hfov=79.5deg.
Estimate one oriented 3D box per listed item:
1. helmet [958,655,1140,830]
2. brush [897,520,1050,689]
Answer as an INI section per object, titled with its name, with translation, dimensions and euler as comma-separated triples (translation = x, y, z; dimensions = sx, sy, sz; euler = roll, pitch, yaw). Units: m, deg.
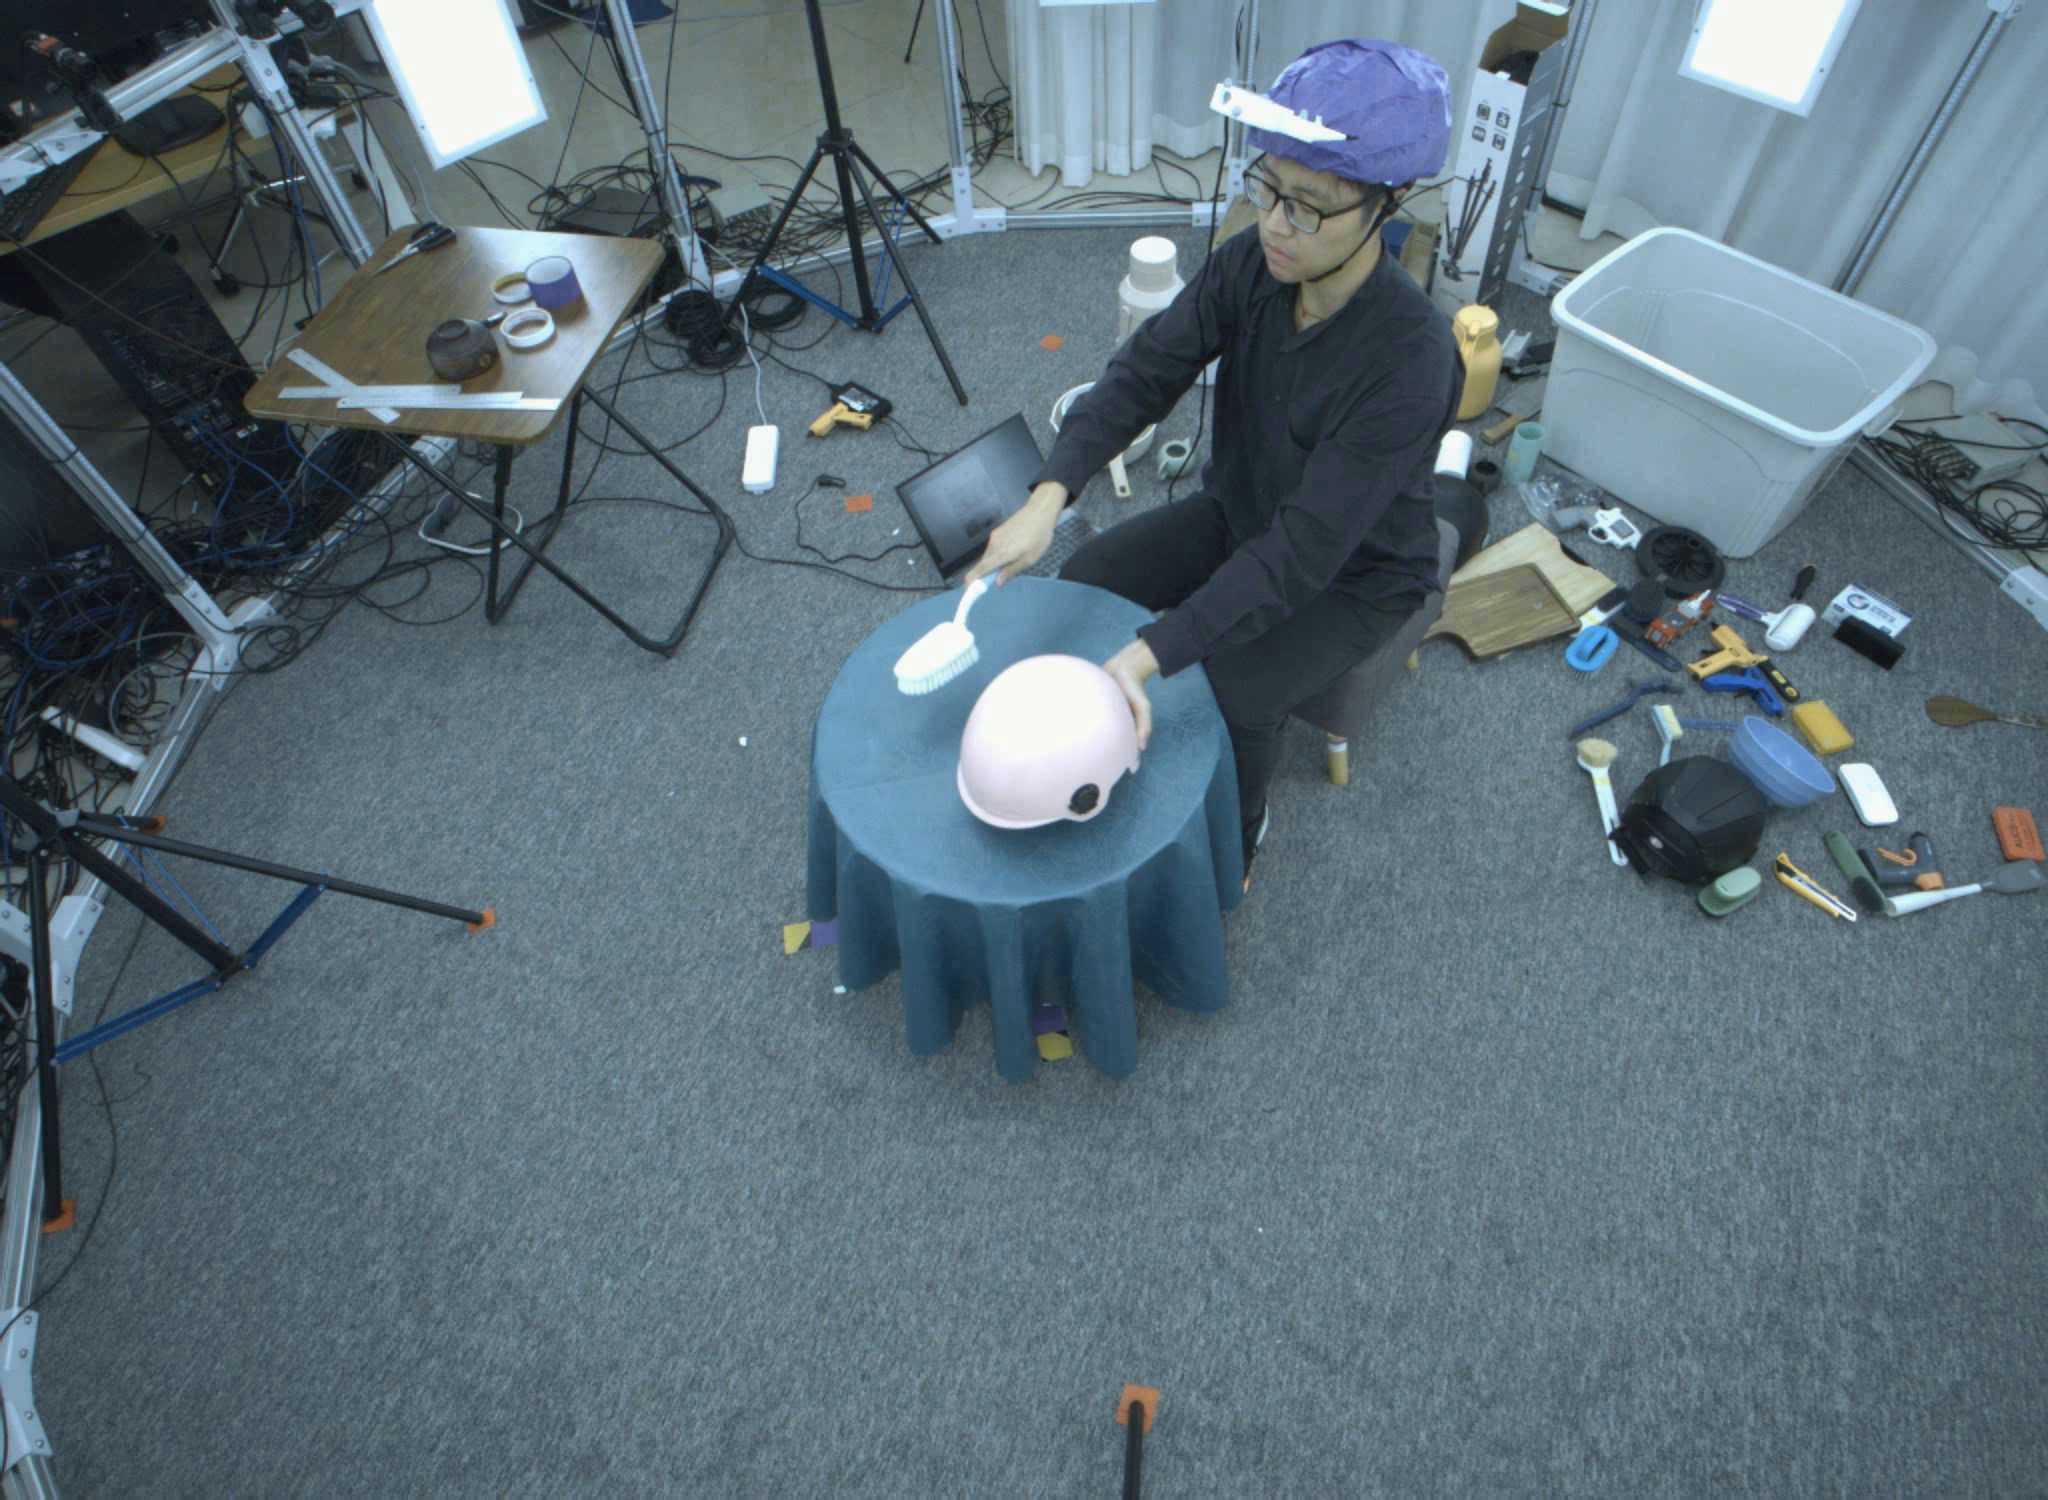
[helmet]
translation = 0.026, -0.028, 1.652
dimensions = 0.268, 0.161, 0.229
euler = -38, 55, -22
[brush]
translation = -0.060, -0.203, 1.788
dimensions = 0.083, 0.084, 0.326
euler = 43, 74, -3
